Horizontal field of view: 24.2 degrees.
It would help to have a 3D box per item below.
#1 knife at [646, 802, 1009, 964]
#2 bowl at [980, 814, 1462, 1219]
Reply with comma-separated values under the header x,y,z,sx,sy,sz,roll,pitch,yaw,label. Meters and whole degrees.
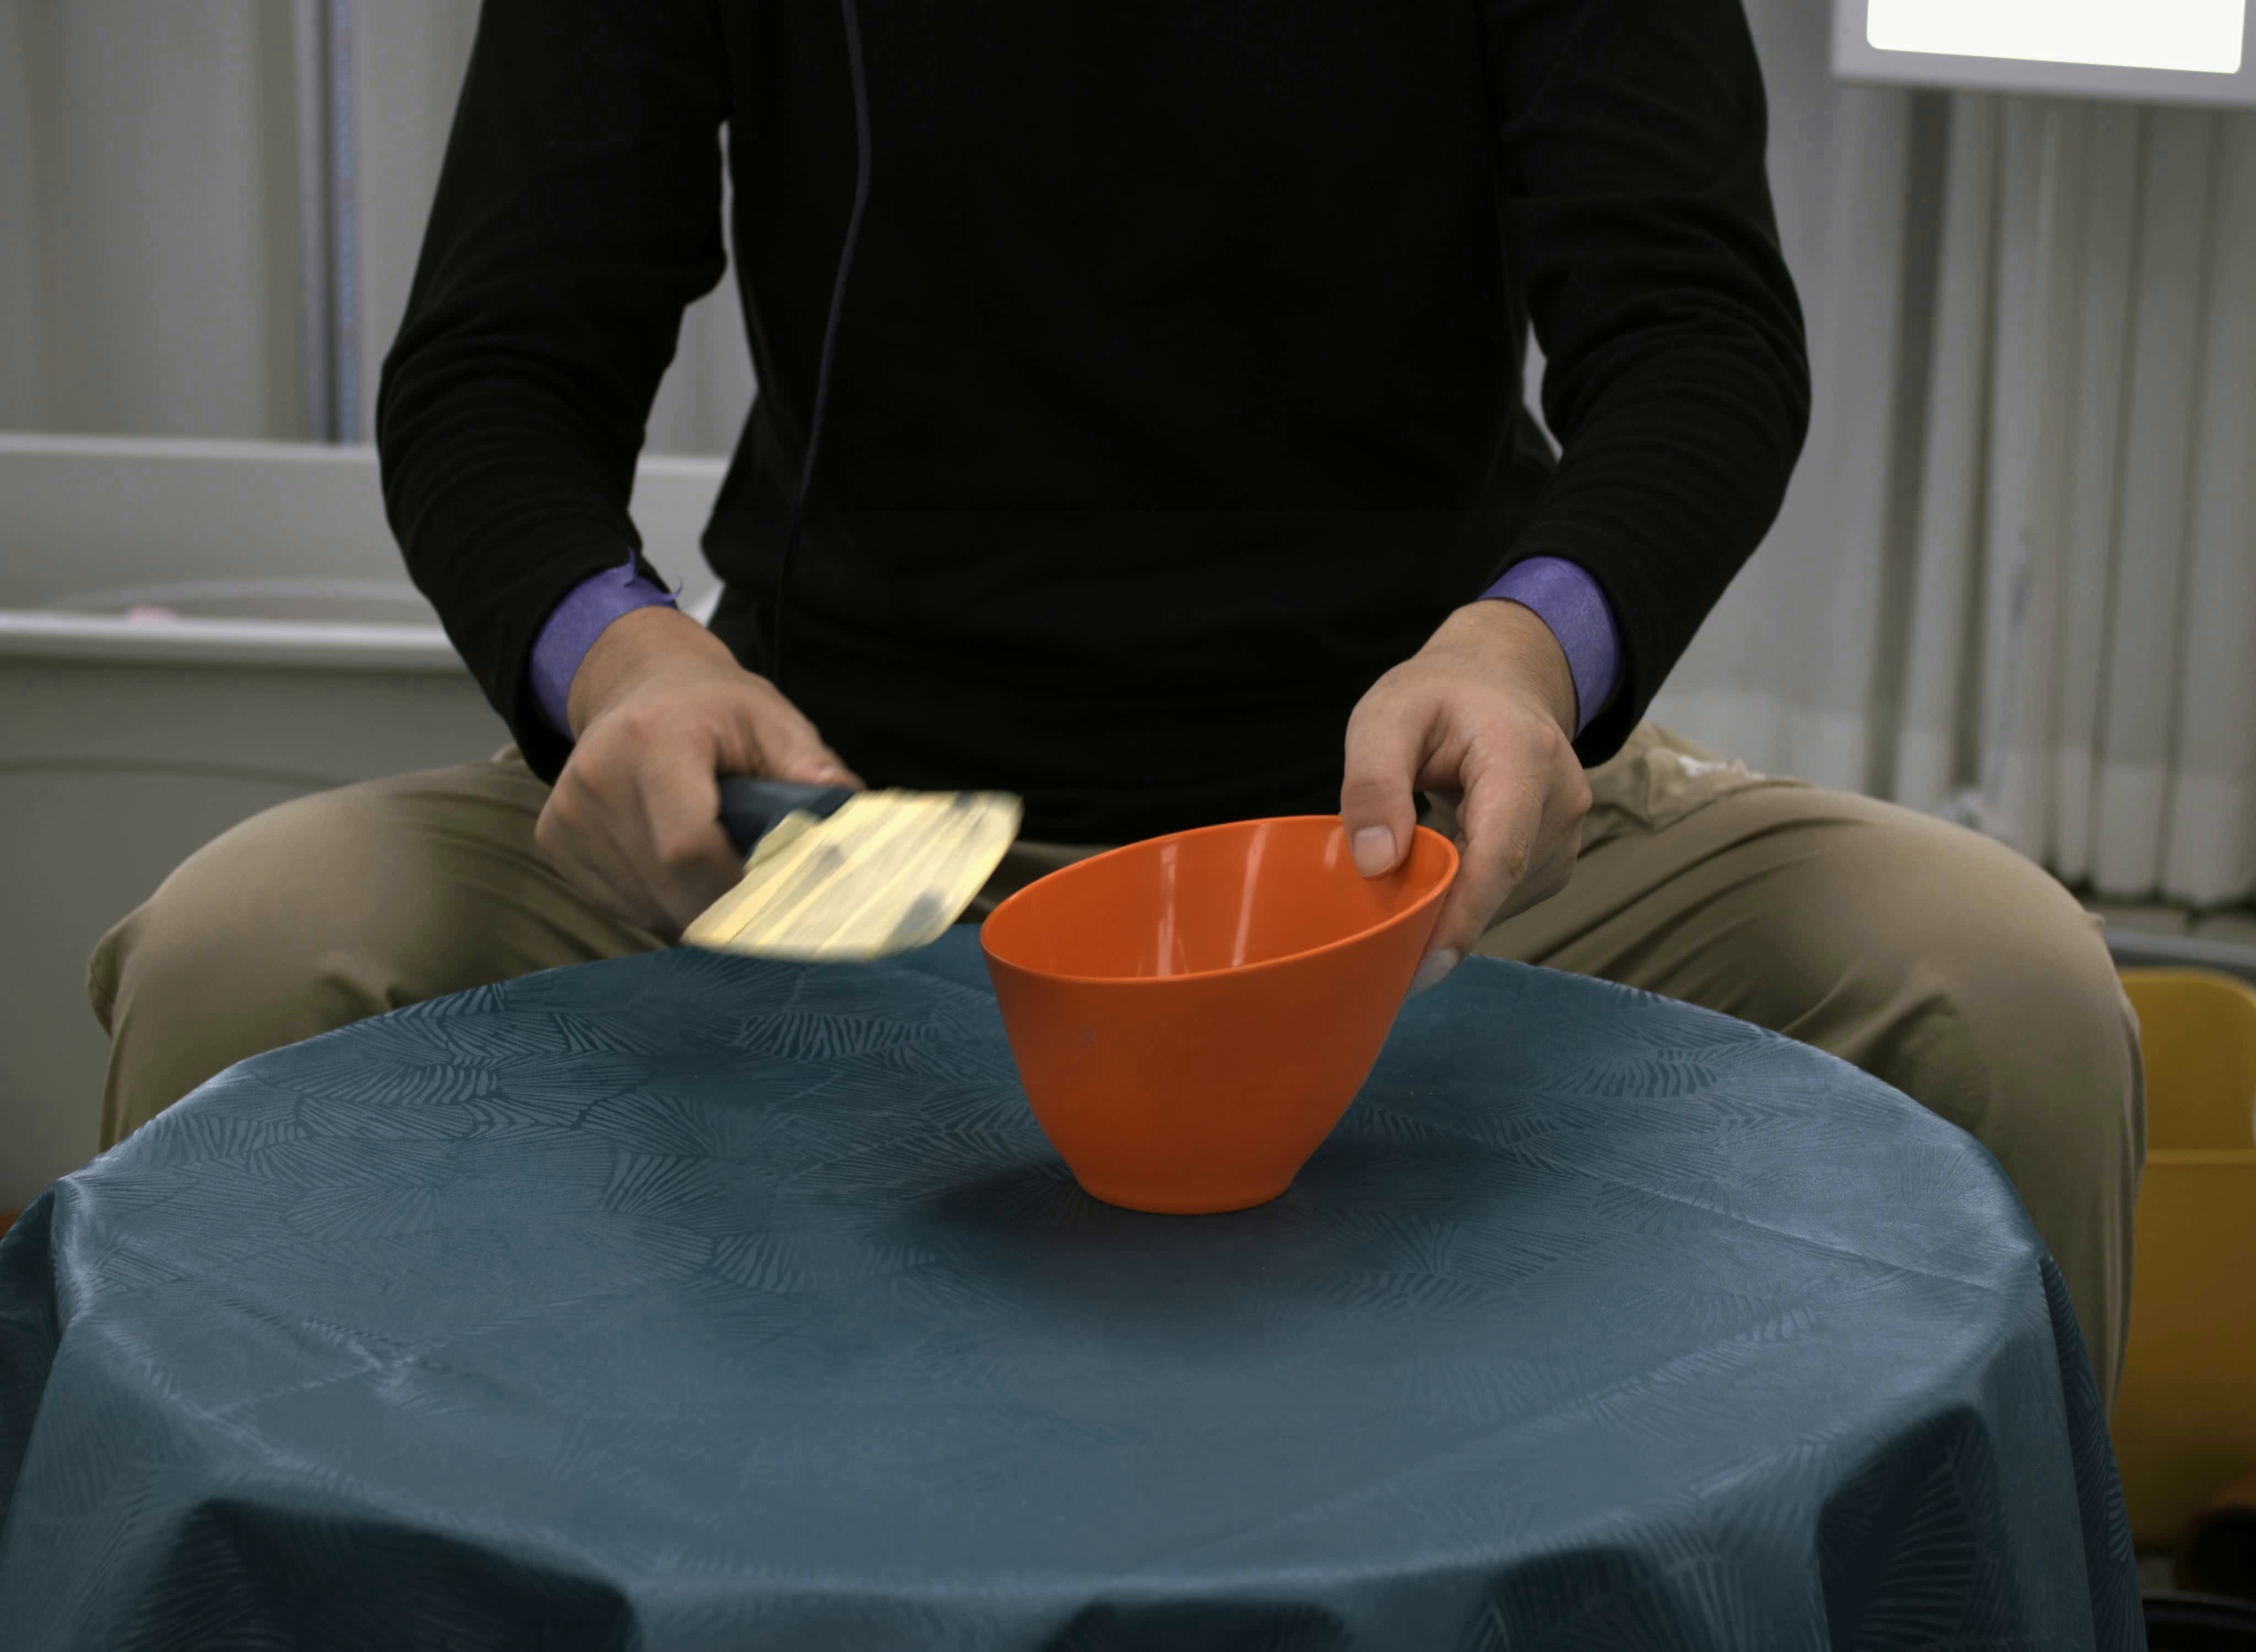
x,y,z,sx,sy,sz,roll,pitch,yaw,label
-0.105,0.018,1.642,0.081,0.027,0.287,-38,16,-17,knife
0.028,0.061,1.618,0.147,0.105,0.147,0,17,1,bowl
